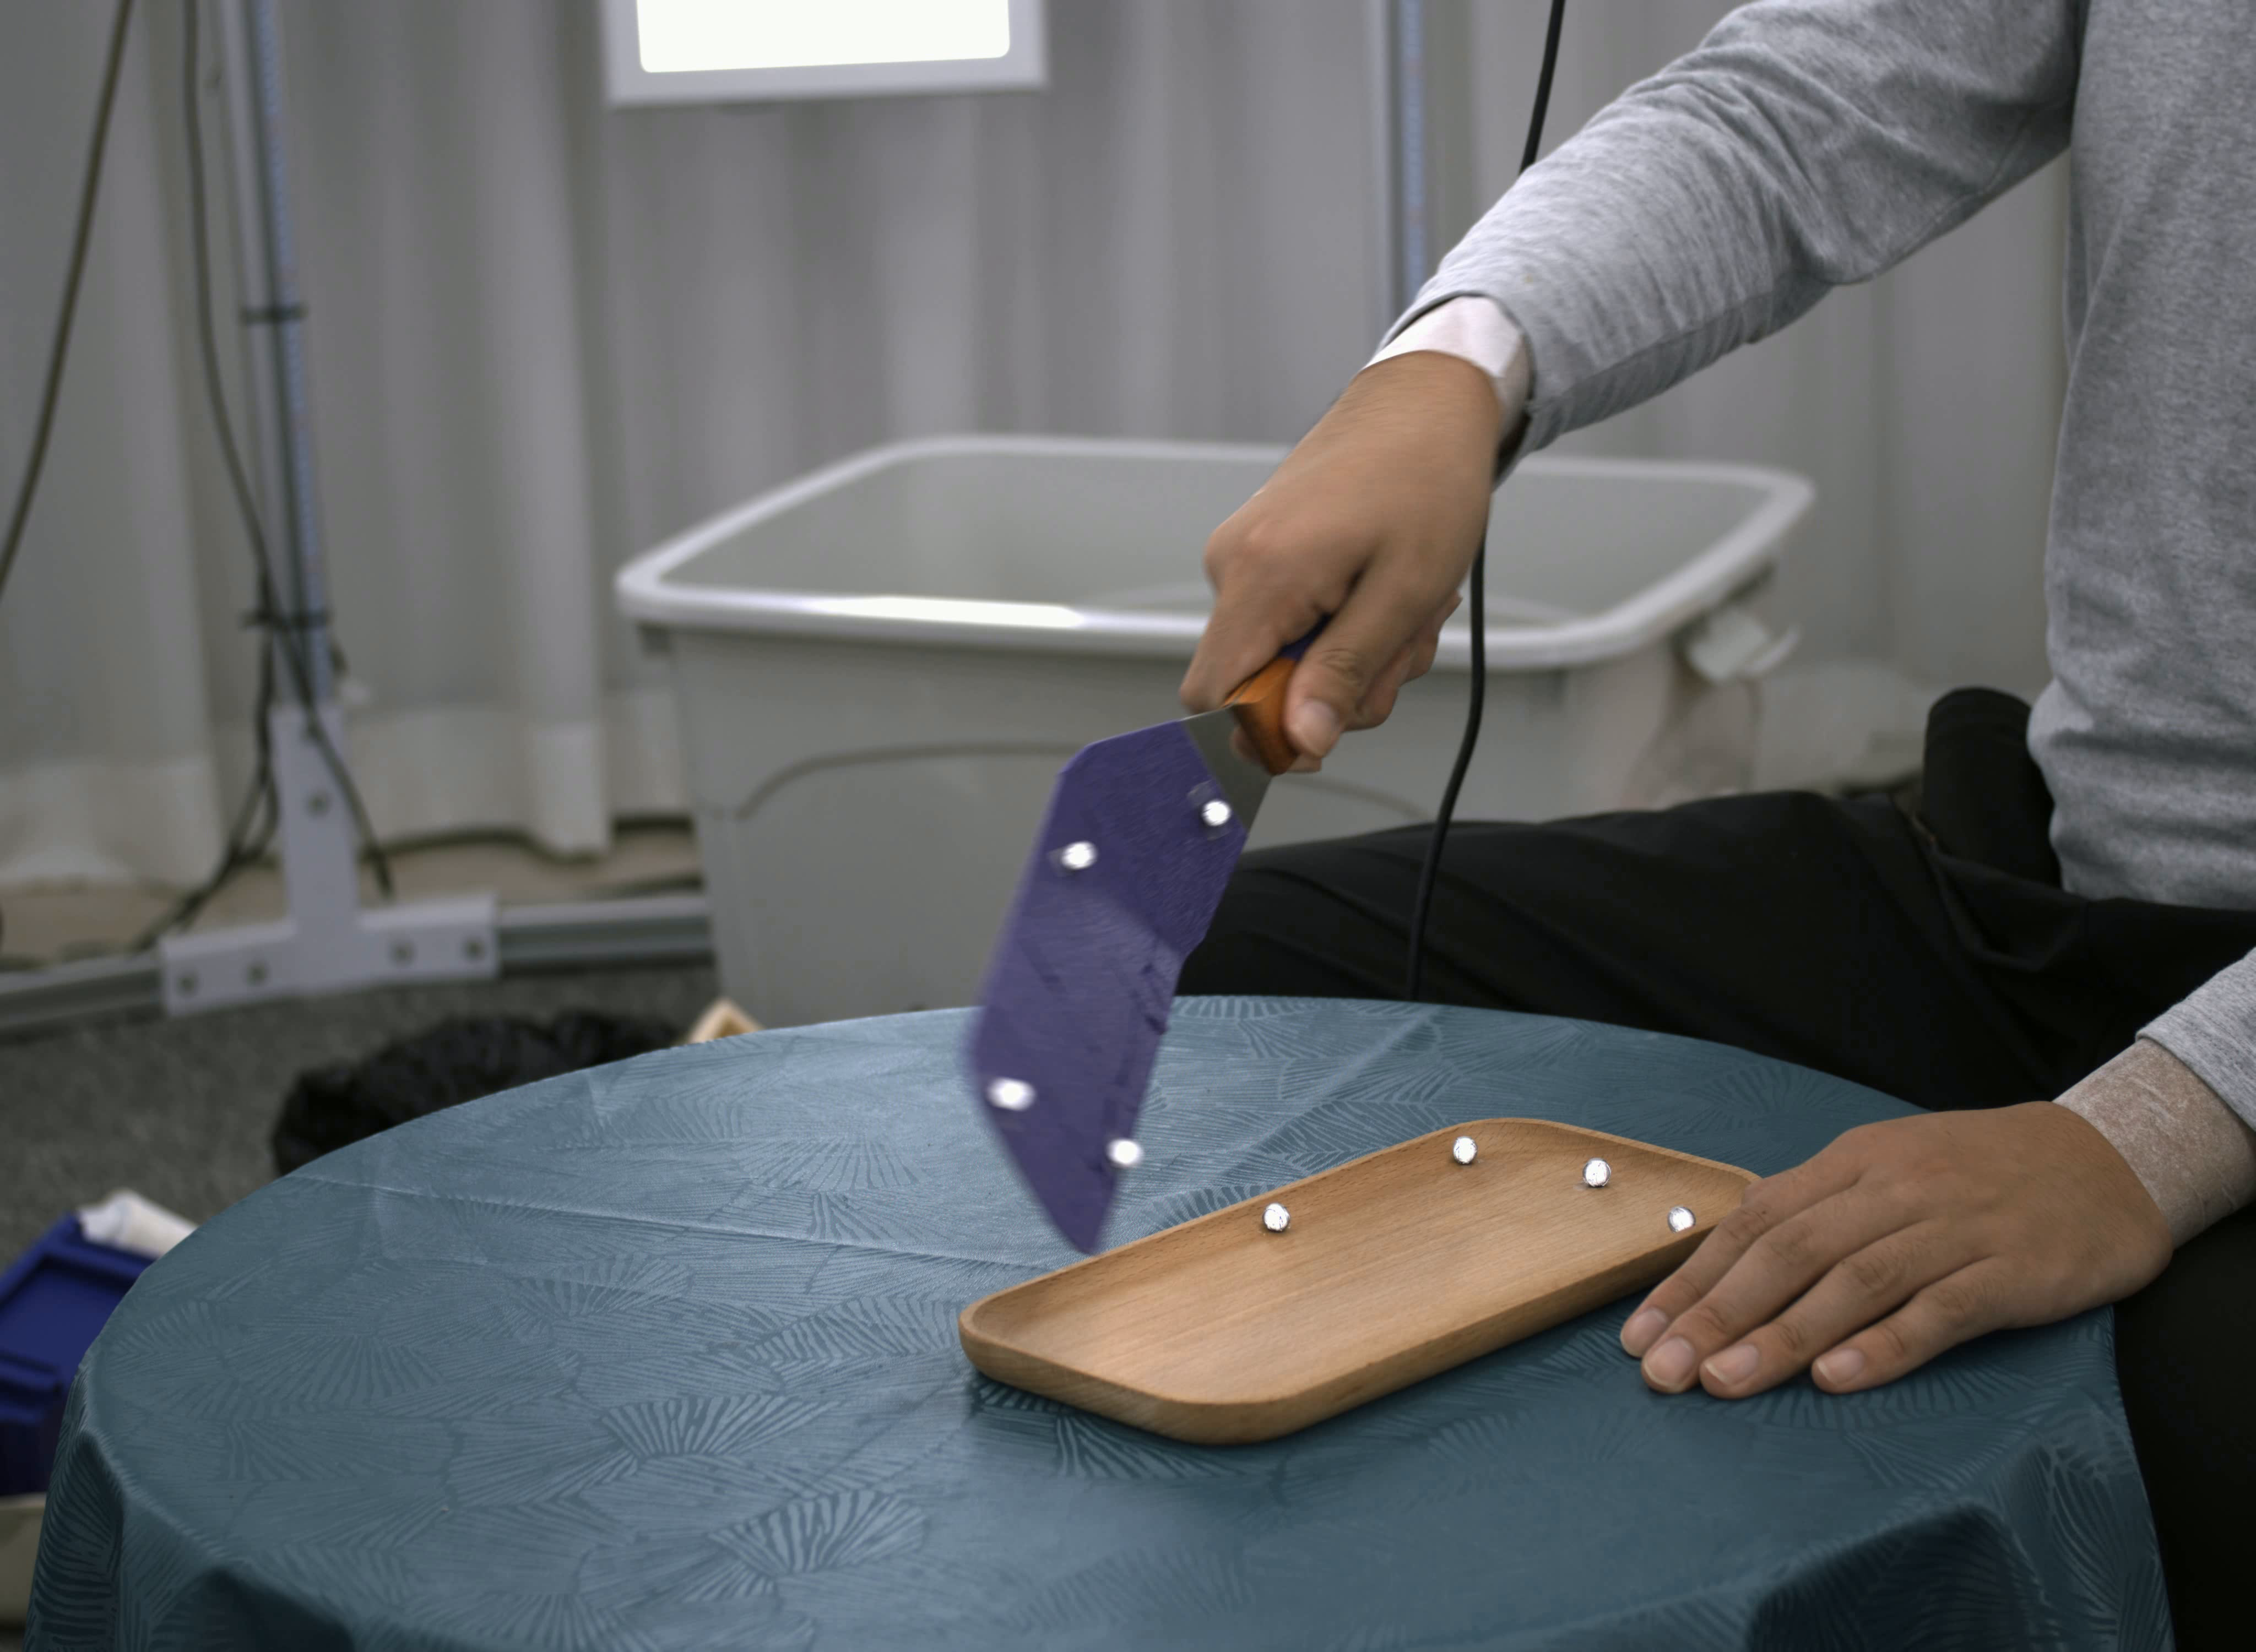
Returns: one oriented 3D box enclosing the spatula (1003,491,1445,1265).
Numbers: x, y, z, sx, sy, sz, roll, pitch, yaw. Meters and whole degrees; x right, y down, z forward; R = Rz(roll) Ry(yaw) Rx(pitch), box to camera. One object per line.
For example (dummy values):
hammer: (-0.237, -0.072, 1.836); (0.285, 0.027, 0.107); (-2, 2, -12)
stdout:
spatula: (0.036, 0.001, 1.629); (0.087, 0.075, 0.362); (-8, 29, 40)

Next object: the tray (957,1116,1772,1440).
tray: (0.073, 0.131, 1.608); (0.250, 0.023, 0.131); (-17, 17, -41)
